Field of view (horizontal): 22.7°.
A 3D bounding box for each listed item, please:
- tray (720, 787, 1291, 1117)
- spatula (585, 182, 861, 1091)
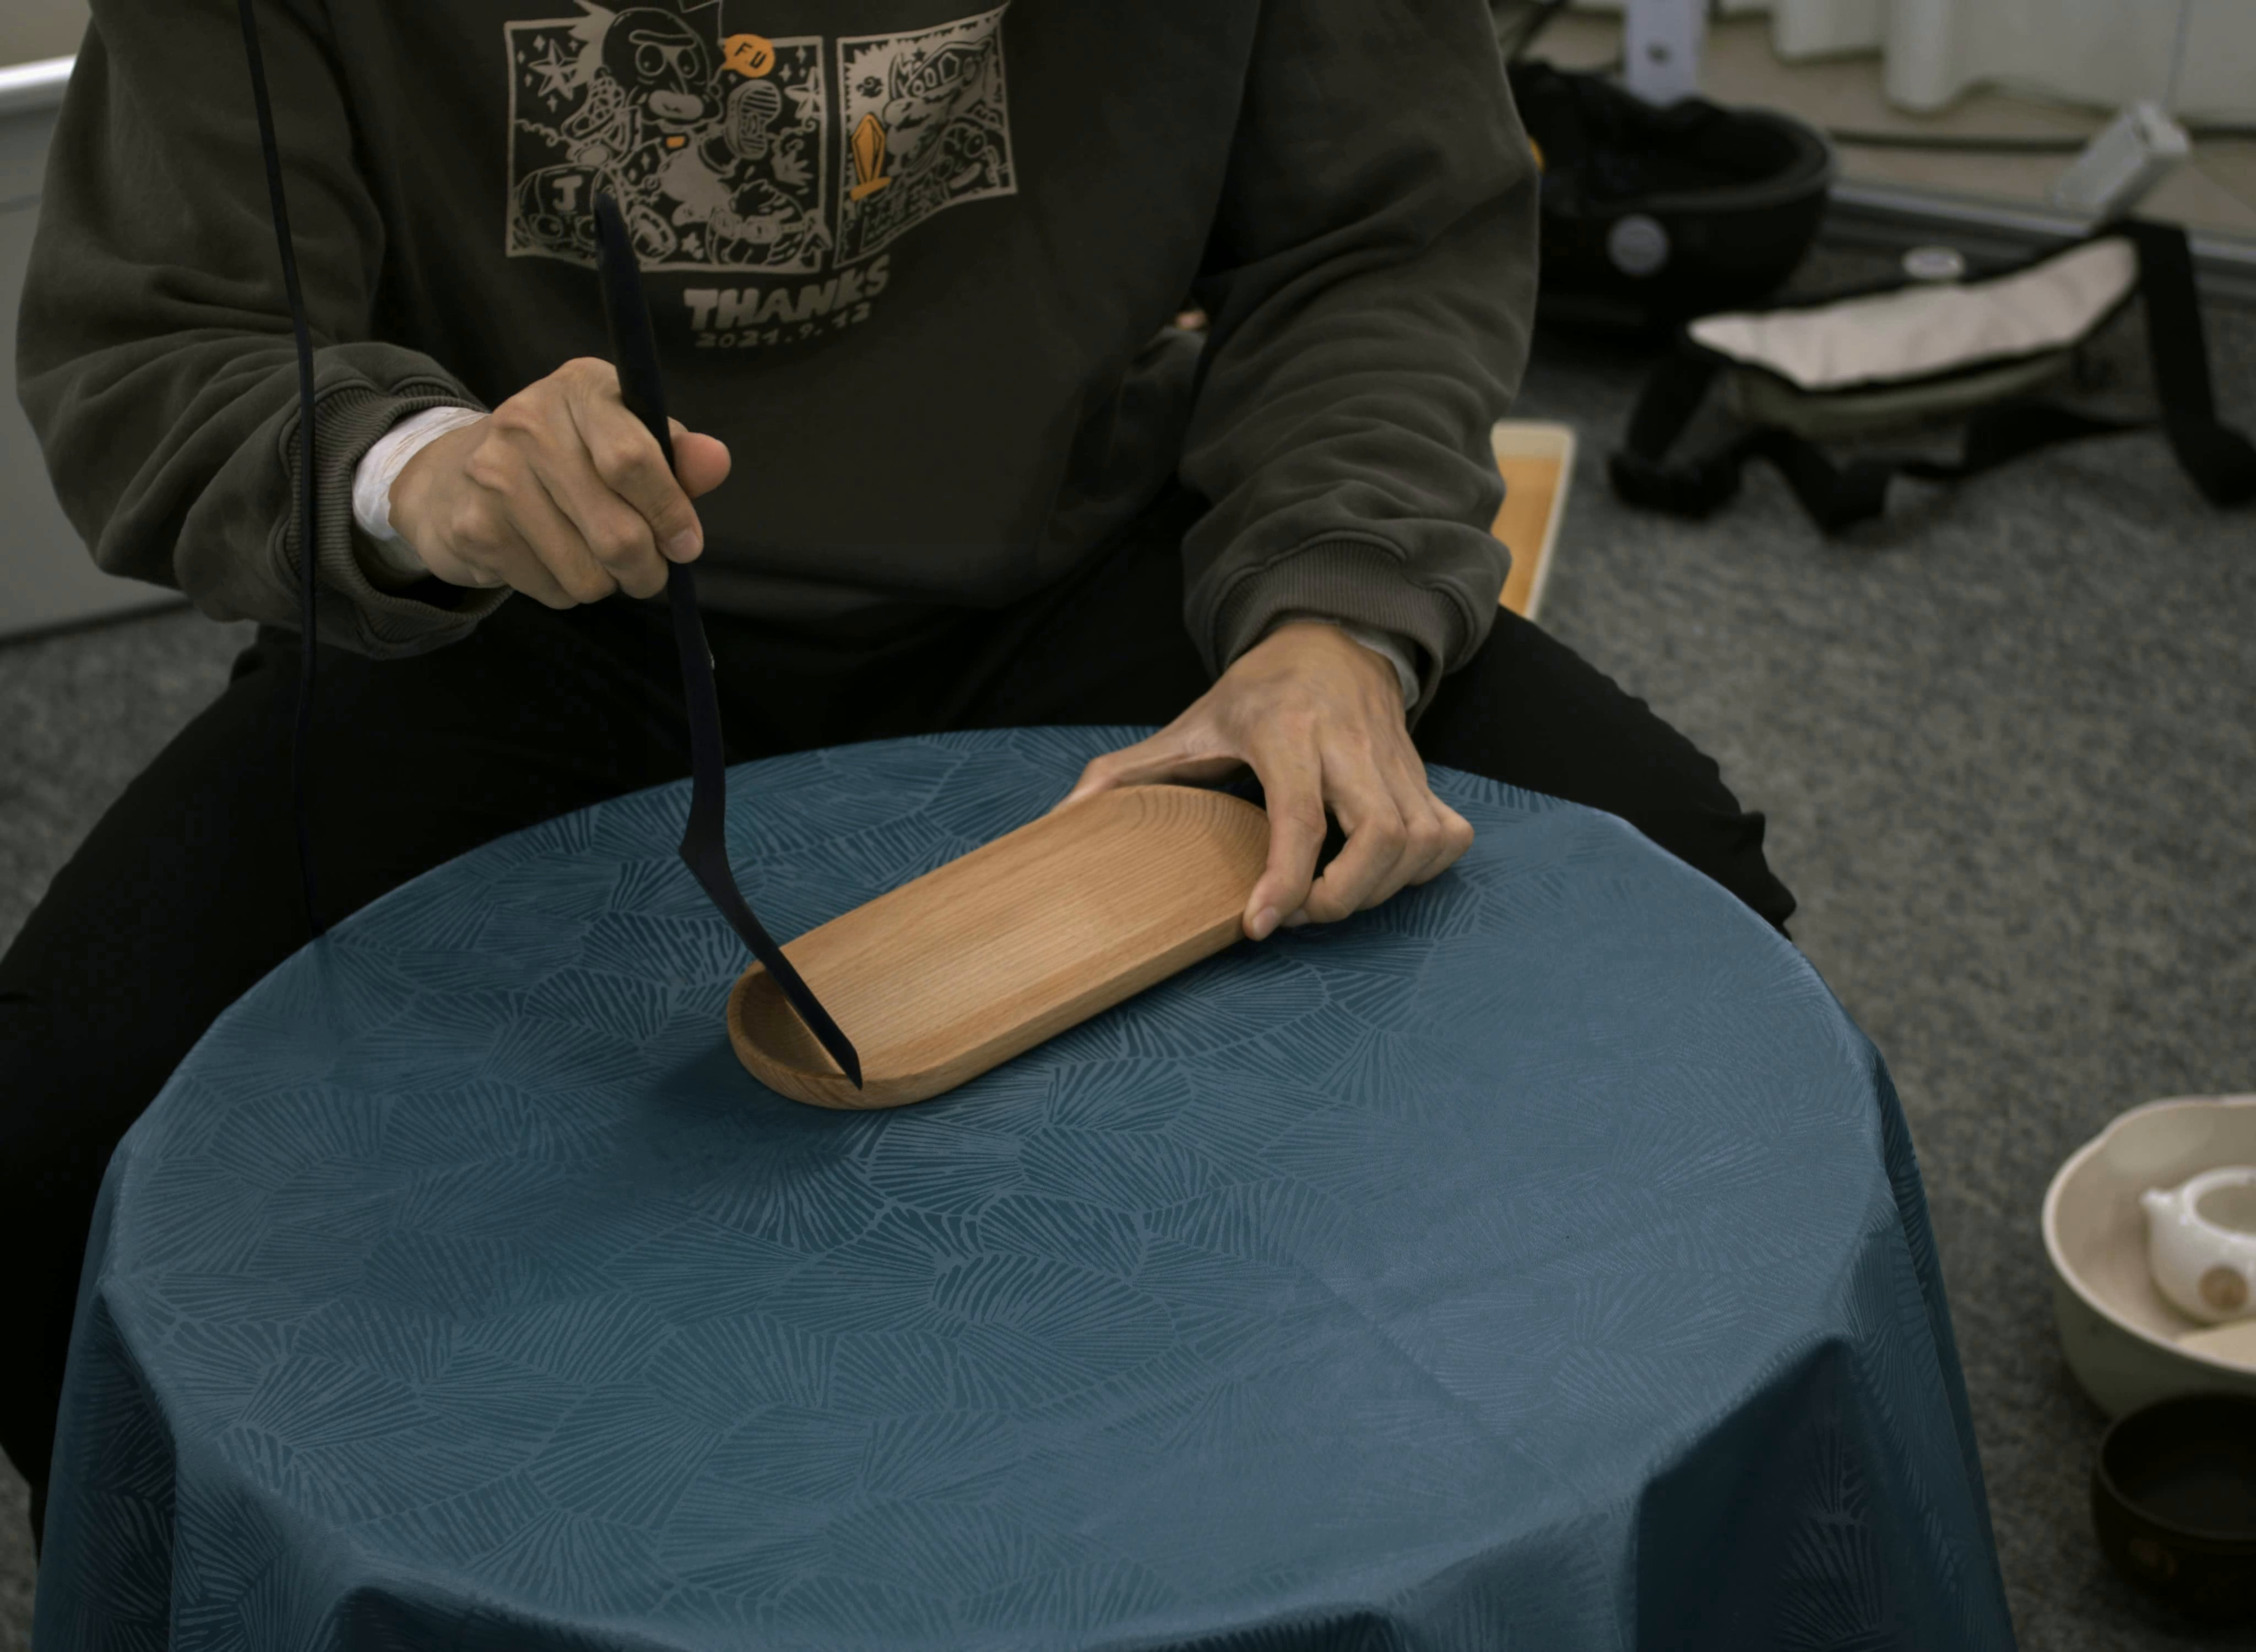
[{"bbox_3d":[-0.041,0.043,1.987,0.234,0.020,0.102,-27,38,-32],"label":"tray"},{"bbox_3d":[-0.139,-0.062,1.859,0.040,0.323,0.100,-16,27,-20],"label":"spatula"}]
